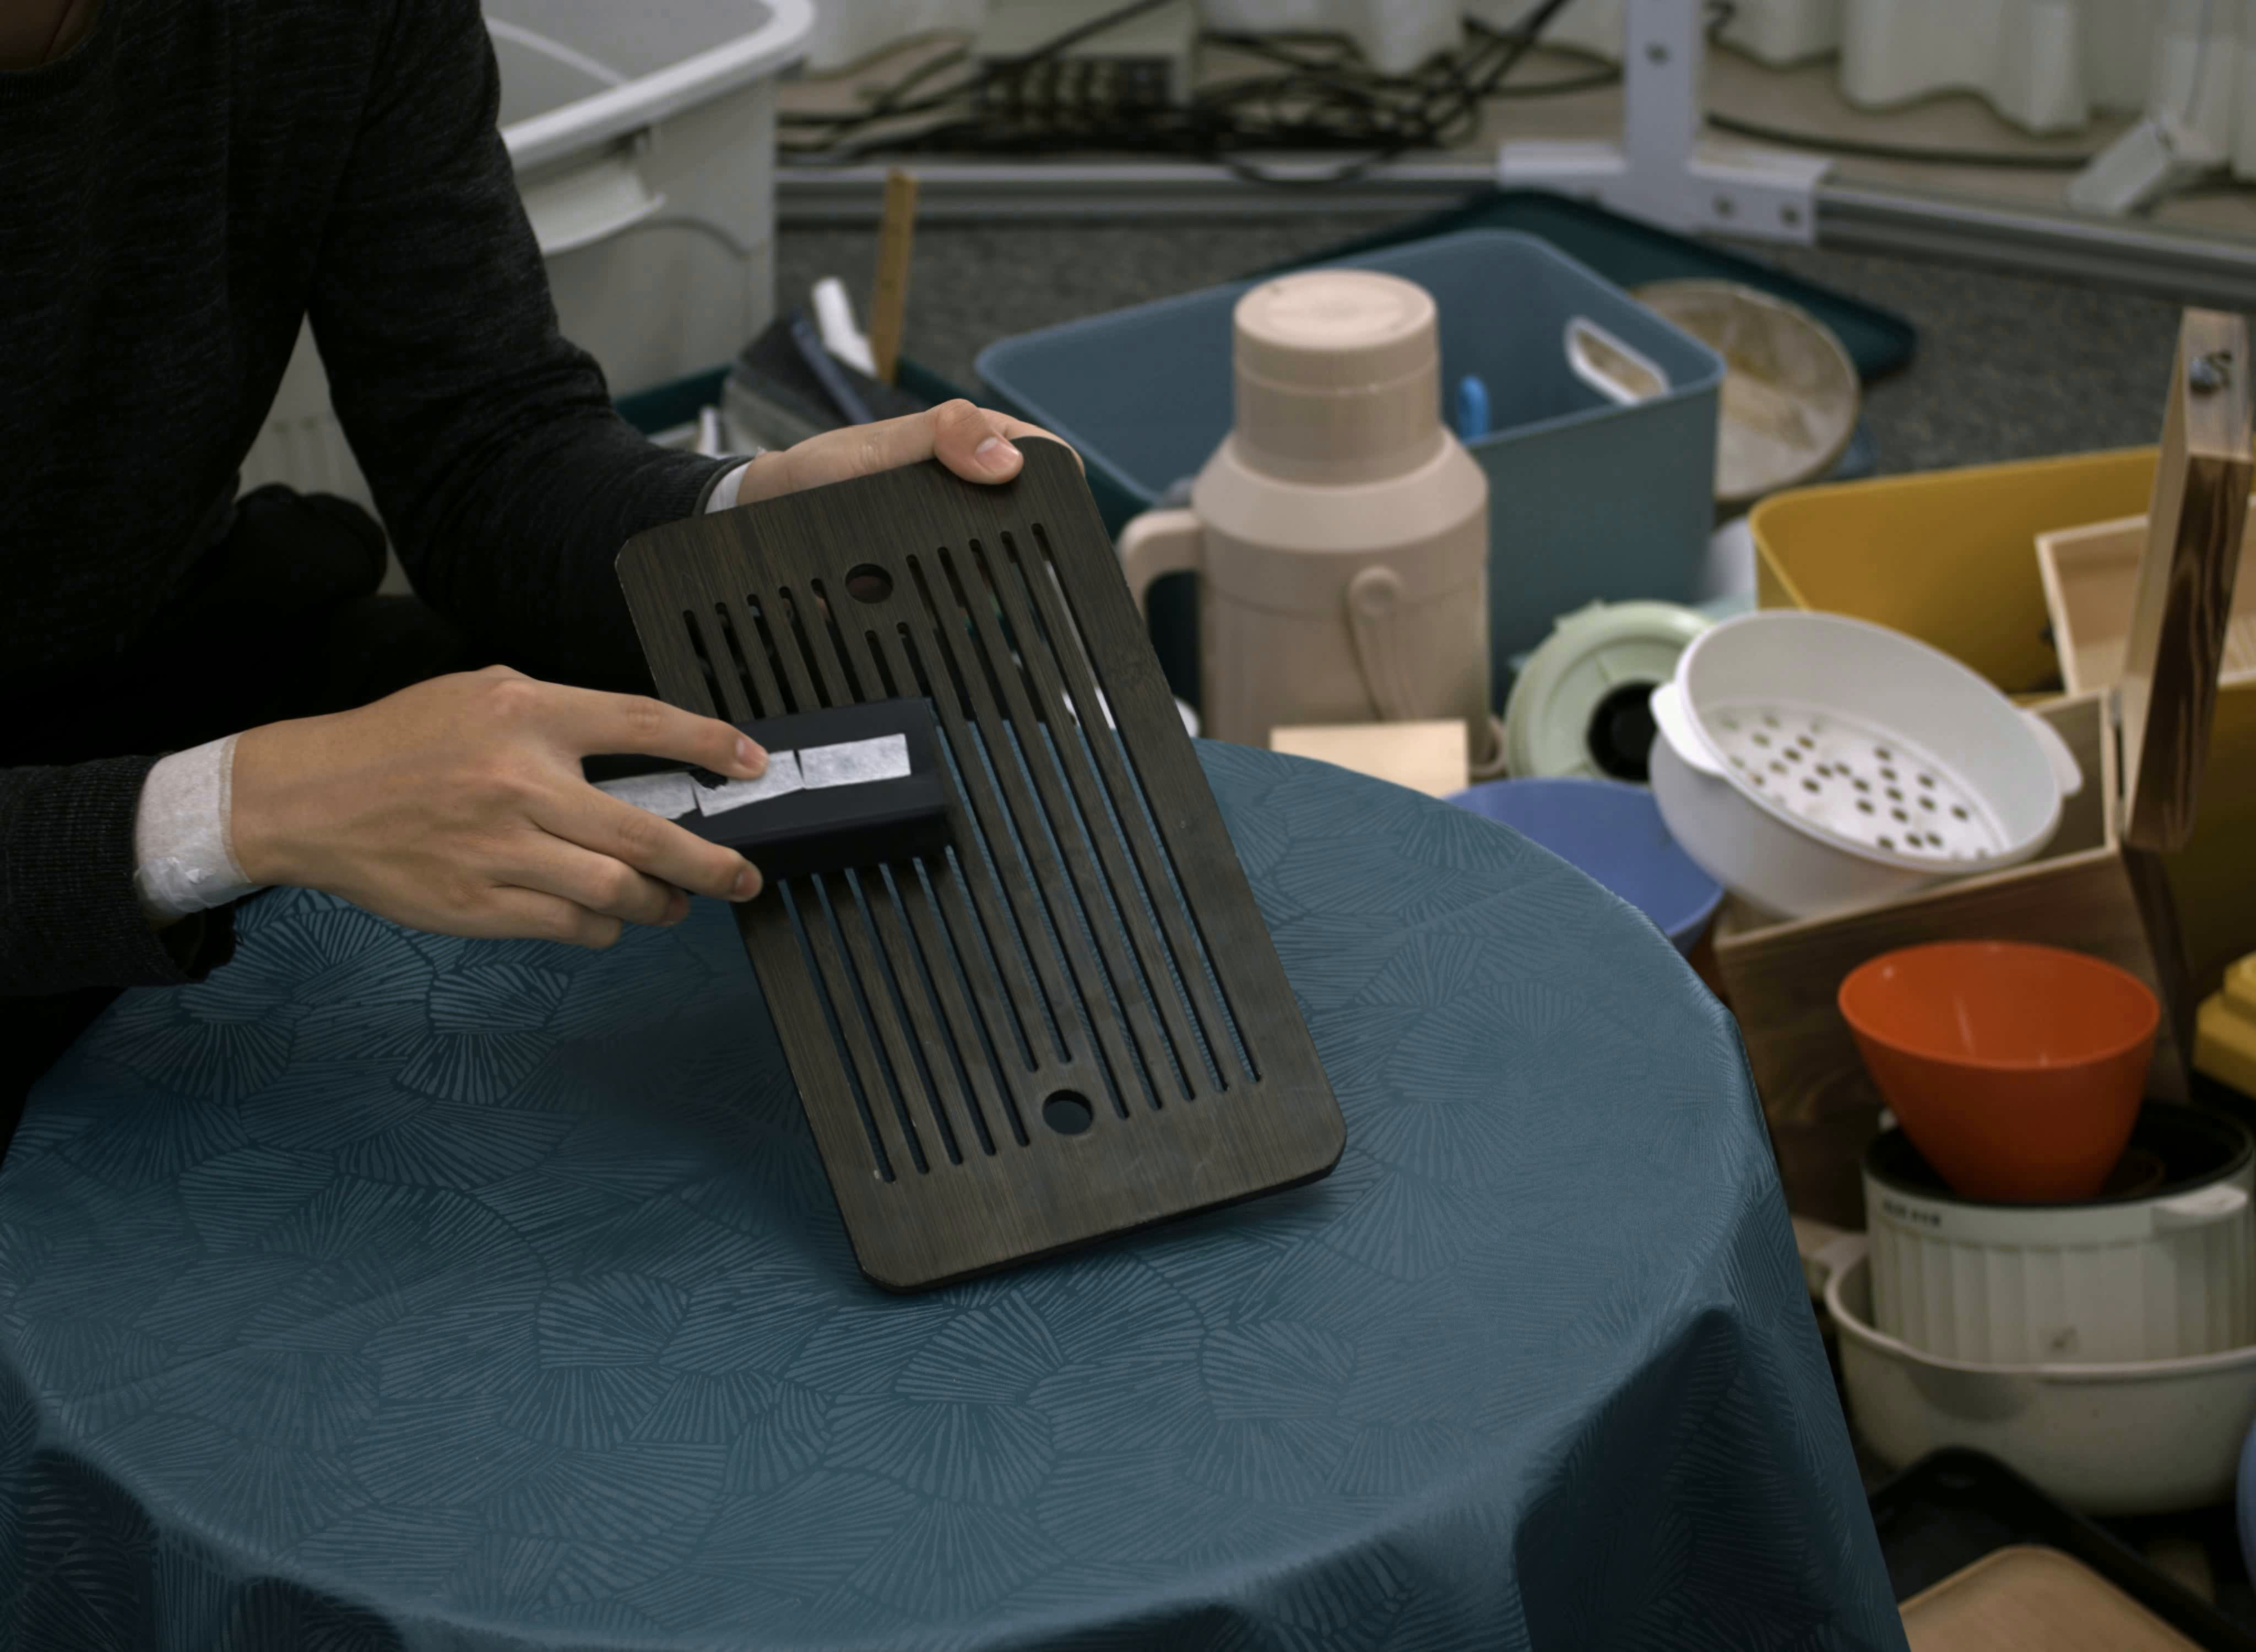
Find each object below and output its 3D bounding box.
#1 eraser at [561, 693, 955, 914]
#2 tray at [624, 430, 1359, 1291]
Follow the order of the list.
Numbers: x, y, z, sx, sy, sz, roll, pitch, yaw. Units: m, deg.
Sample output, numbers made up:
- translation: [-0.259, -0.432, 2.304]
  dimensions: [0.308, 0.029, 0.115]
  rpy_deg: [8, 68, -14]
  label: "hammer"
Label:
- translation: [-0.124, -0.008, 1.879]
  dimensions: [0.125, 0.030, 0.054]
  rpy_deg: [-11, 56, -11]
  label: "eraser"
- translation: [-0.050, 0.007, 1.902]
  dimensions: [0.170, 0.018, 0.310]
  rpy_deg: [-14, 60, -13]
  label: "tray"
